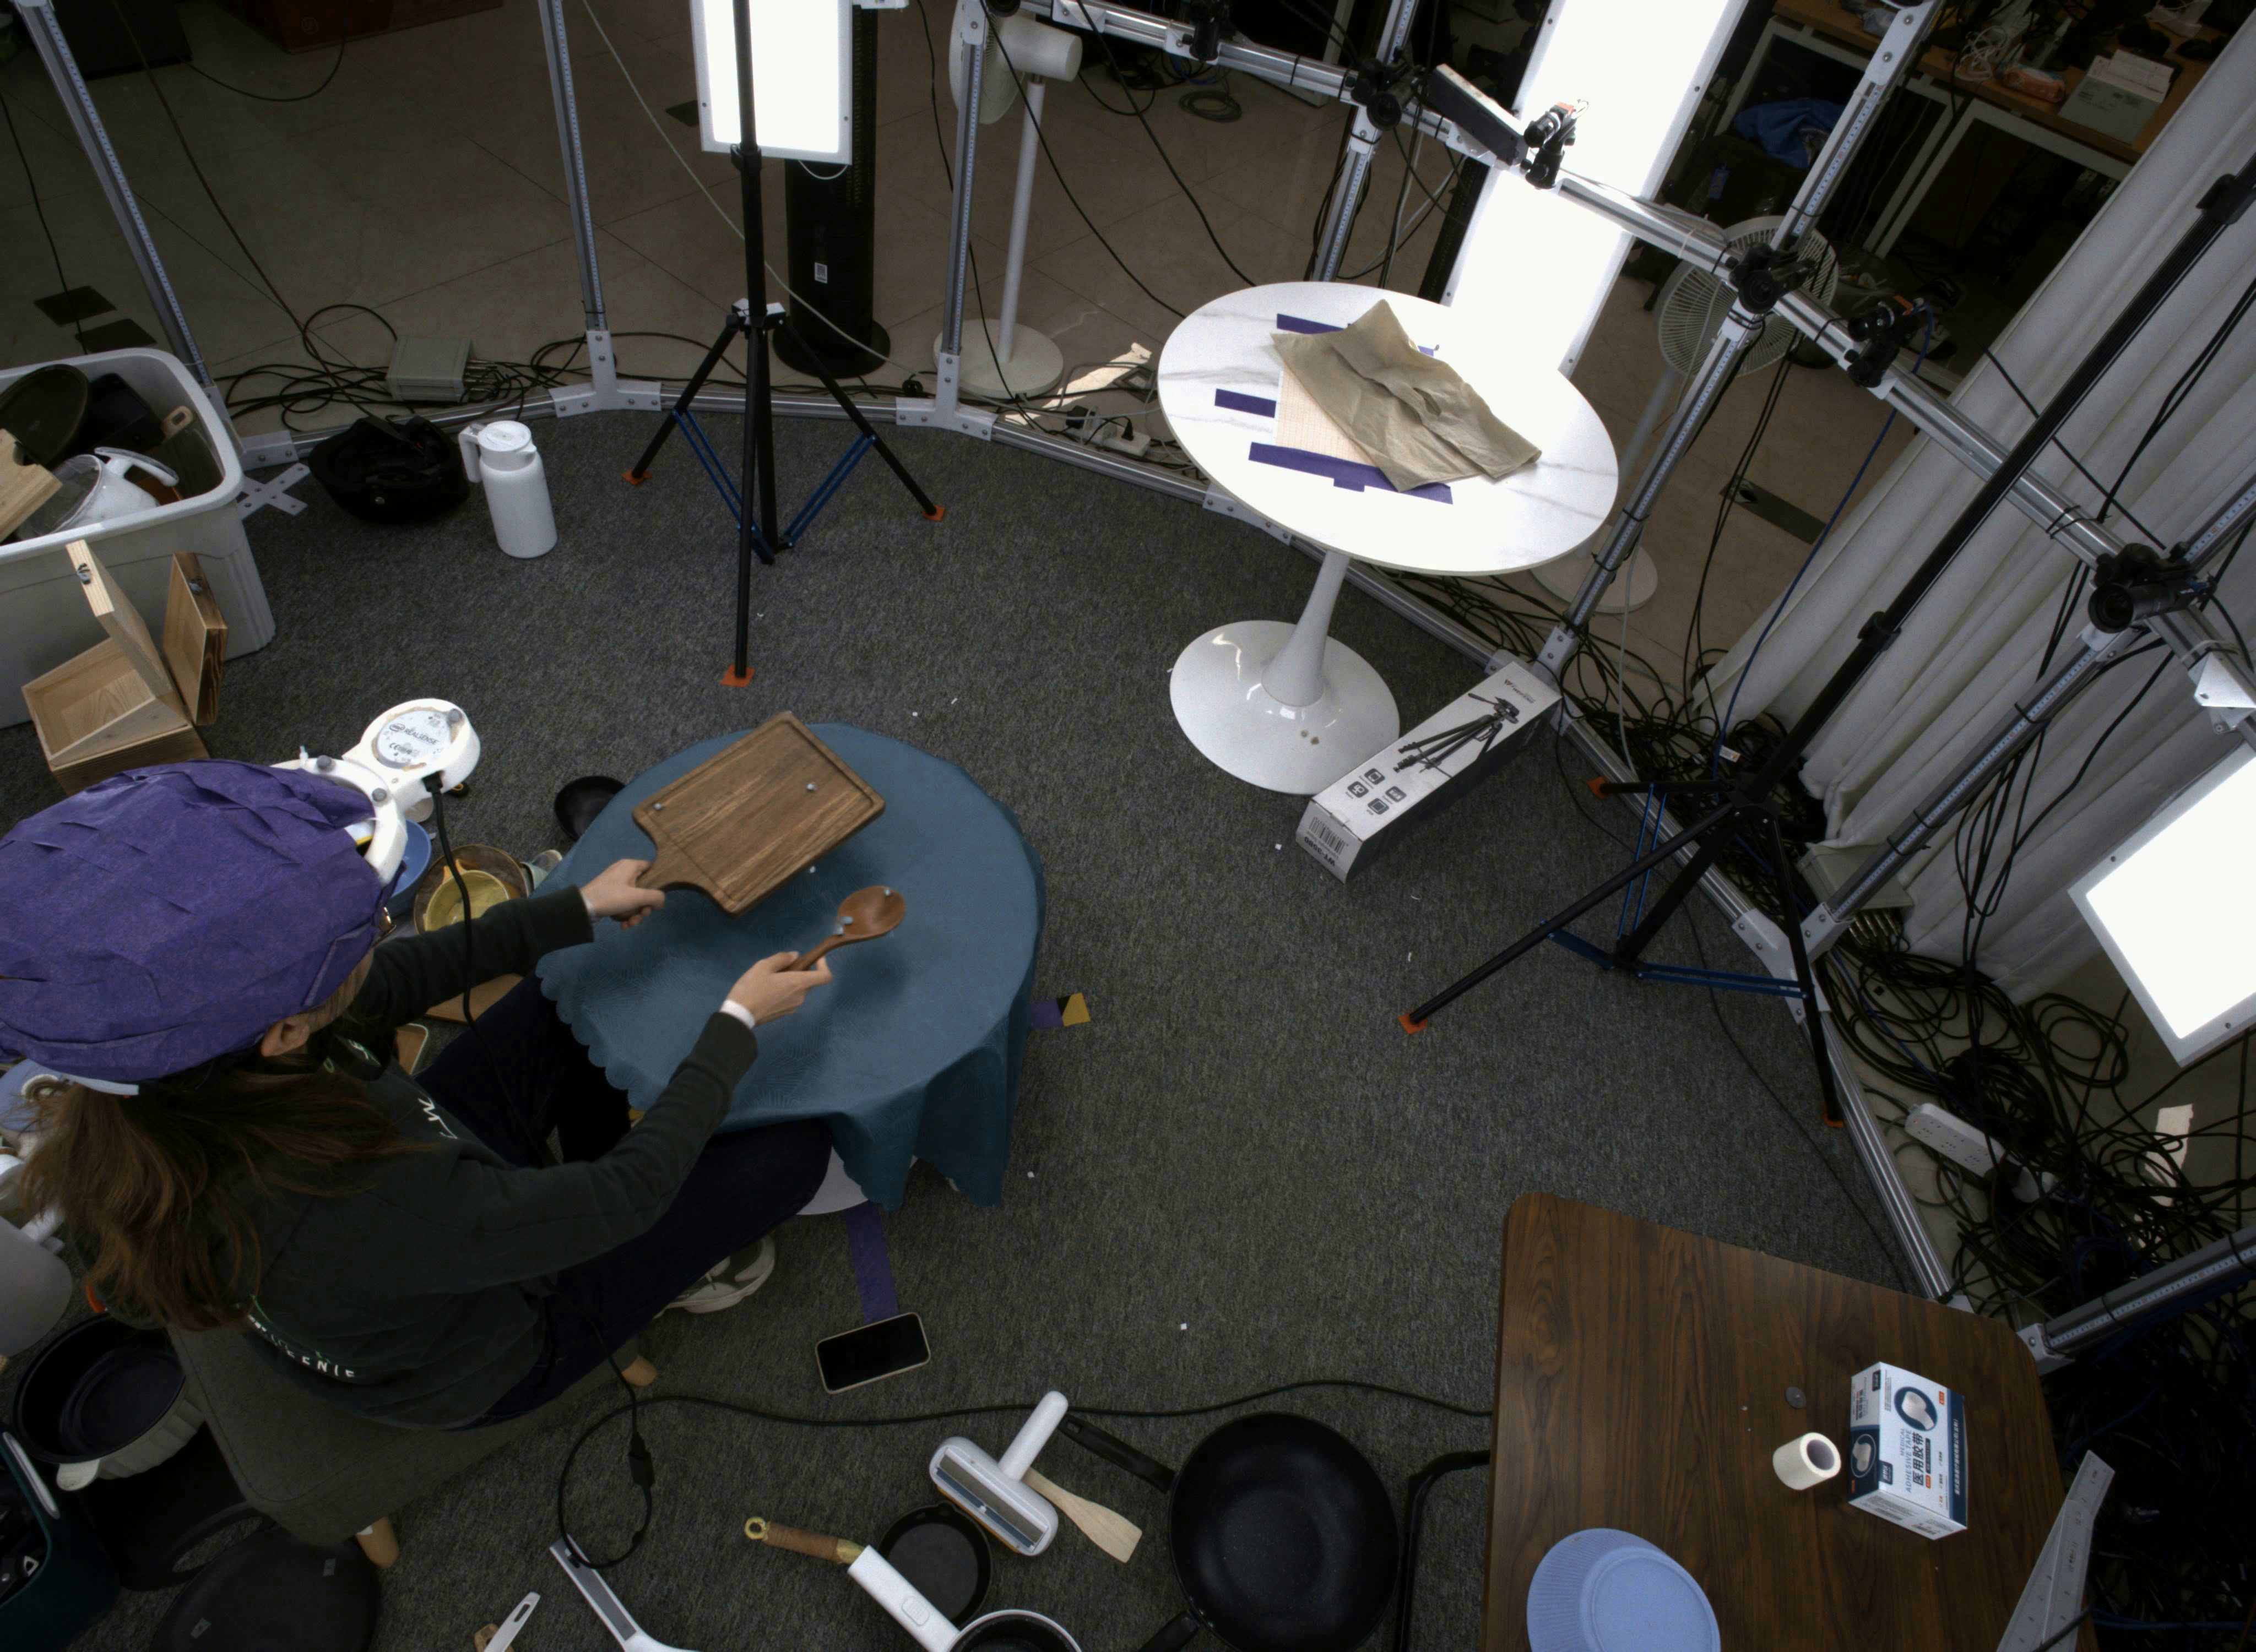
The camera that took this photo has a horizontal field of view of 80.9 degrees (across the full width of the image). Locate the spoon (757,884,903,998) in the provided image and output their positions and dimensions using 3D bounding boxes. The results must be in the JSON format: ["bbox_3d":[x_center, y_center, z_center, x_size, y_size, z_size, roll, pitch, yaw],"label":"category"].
[{"bbox_3d":[-0.353,0.135,1.535,0.073,0.017,0.216,35,48,17],"label":"spoon"}]

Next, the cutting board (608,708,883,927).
[{"bbox_3d":[-0.493,0.006,1.585,0.198,0.023,0.352,43,58,10],"label":"cutting board"}]
